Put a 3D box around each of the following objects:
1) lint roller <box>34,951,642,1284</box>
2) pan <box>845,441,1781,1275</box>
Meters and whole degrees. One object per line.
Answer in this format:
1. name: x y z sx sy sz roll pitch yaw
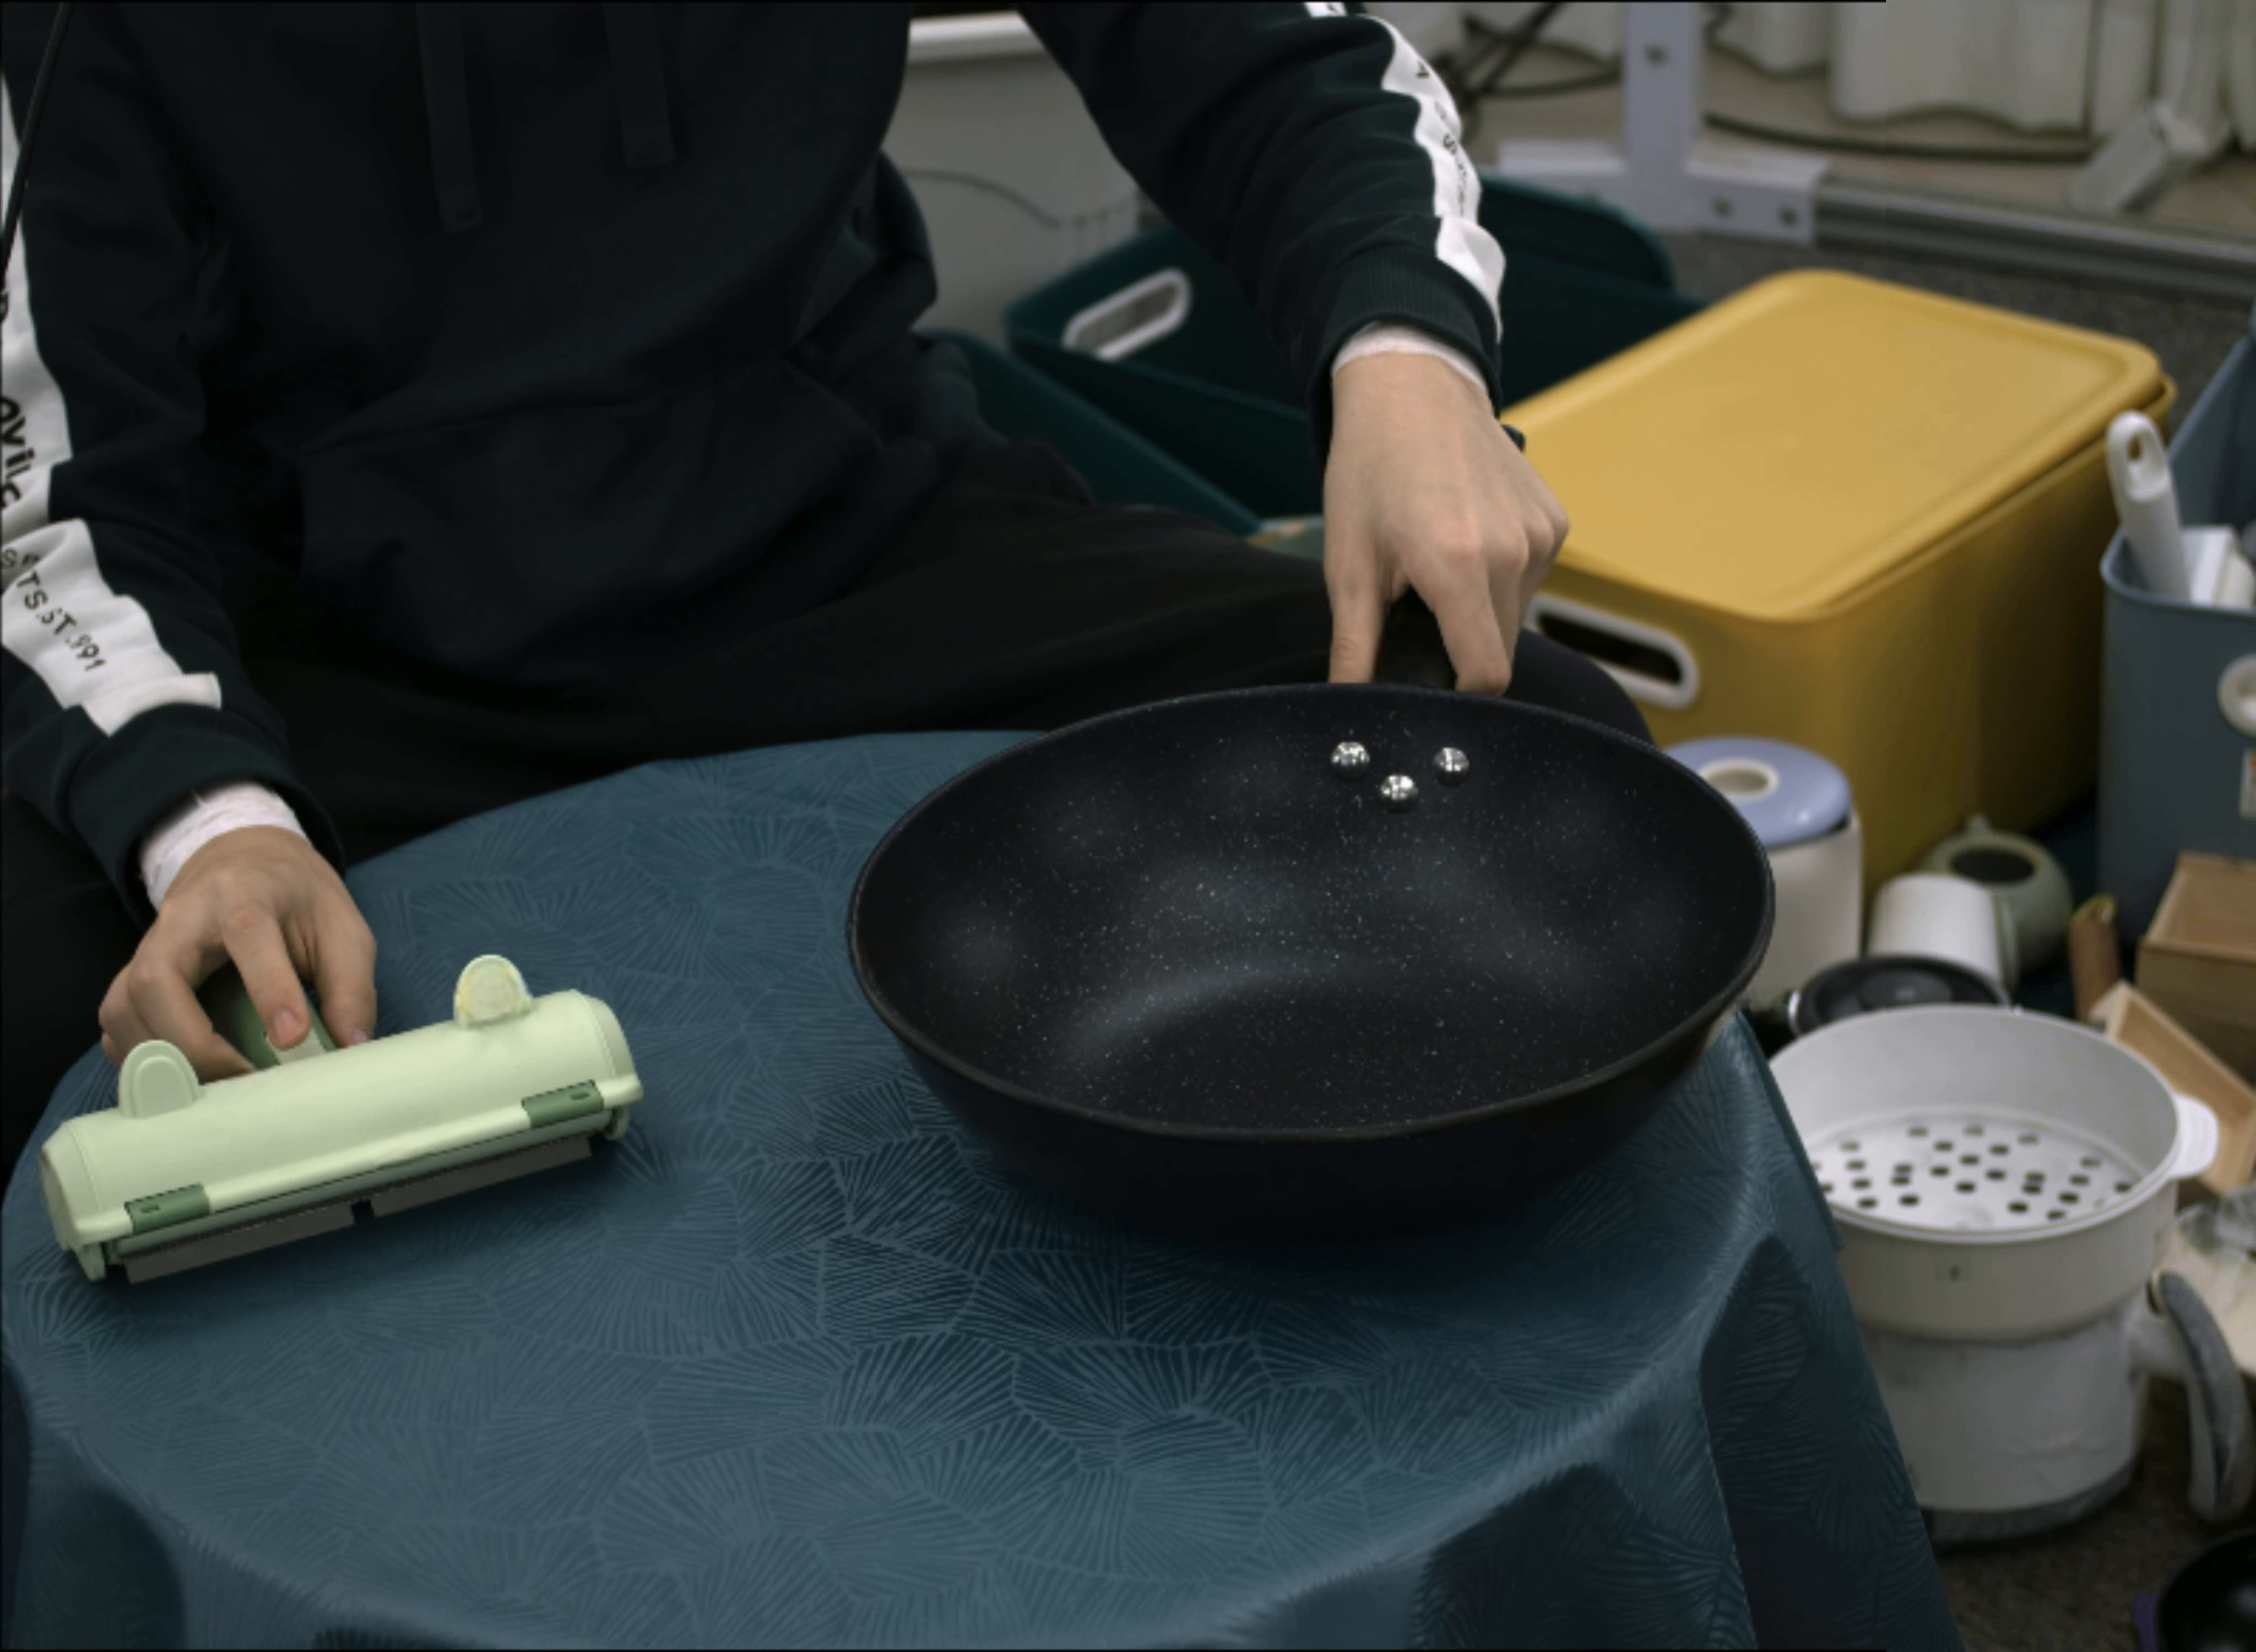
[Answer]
1. lint roller: -0.284 0.070 1.905 0.199 0.081 0.185 -14 34 -20
2. pan: 0.081 0.015 1.944 0.308 0.110 0.485 5 29 12
